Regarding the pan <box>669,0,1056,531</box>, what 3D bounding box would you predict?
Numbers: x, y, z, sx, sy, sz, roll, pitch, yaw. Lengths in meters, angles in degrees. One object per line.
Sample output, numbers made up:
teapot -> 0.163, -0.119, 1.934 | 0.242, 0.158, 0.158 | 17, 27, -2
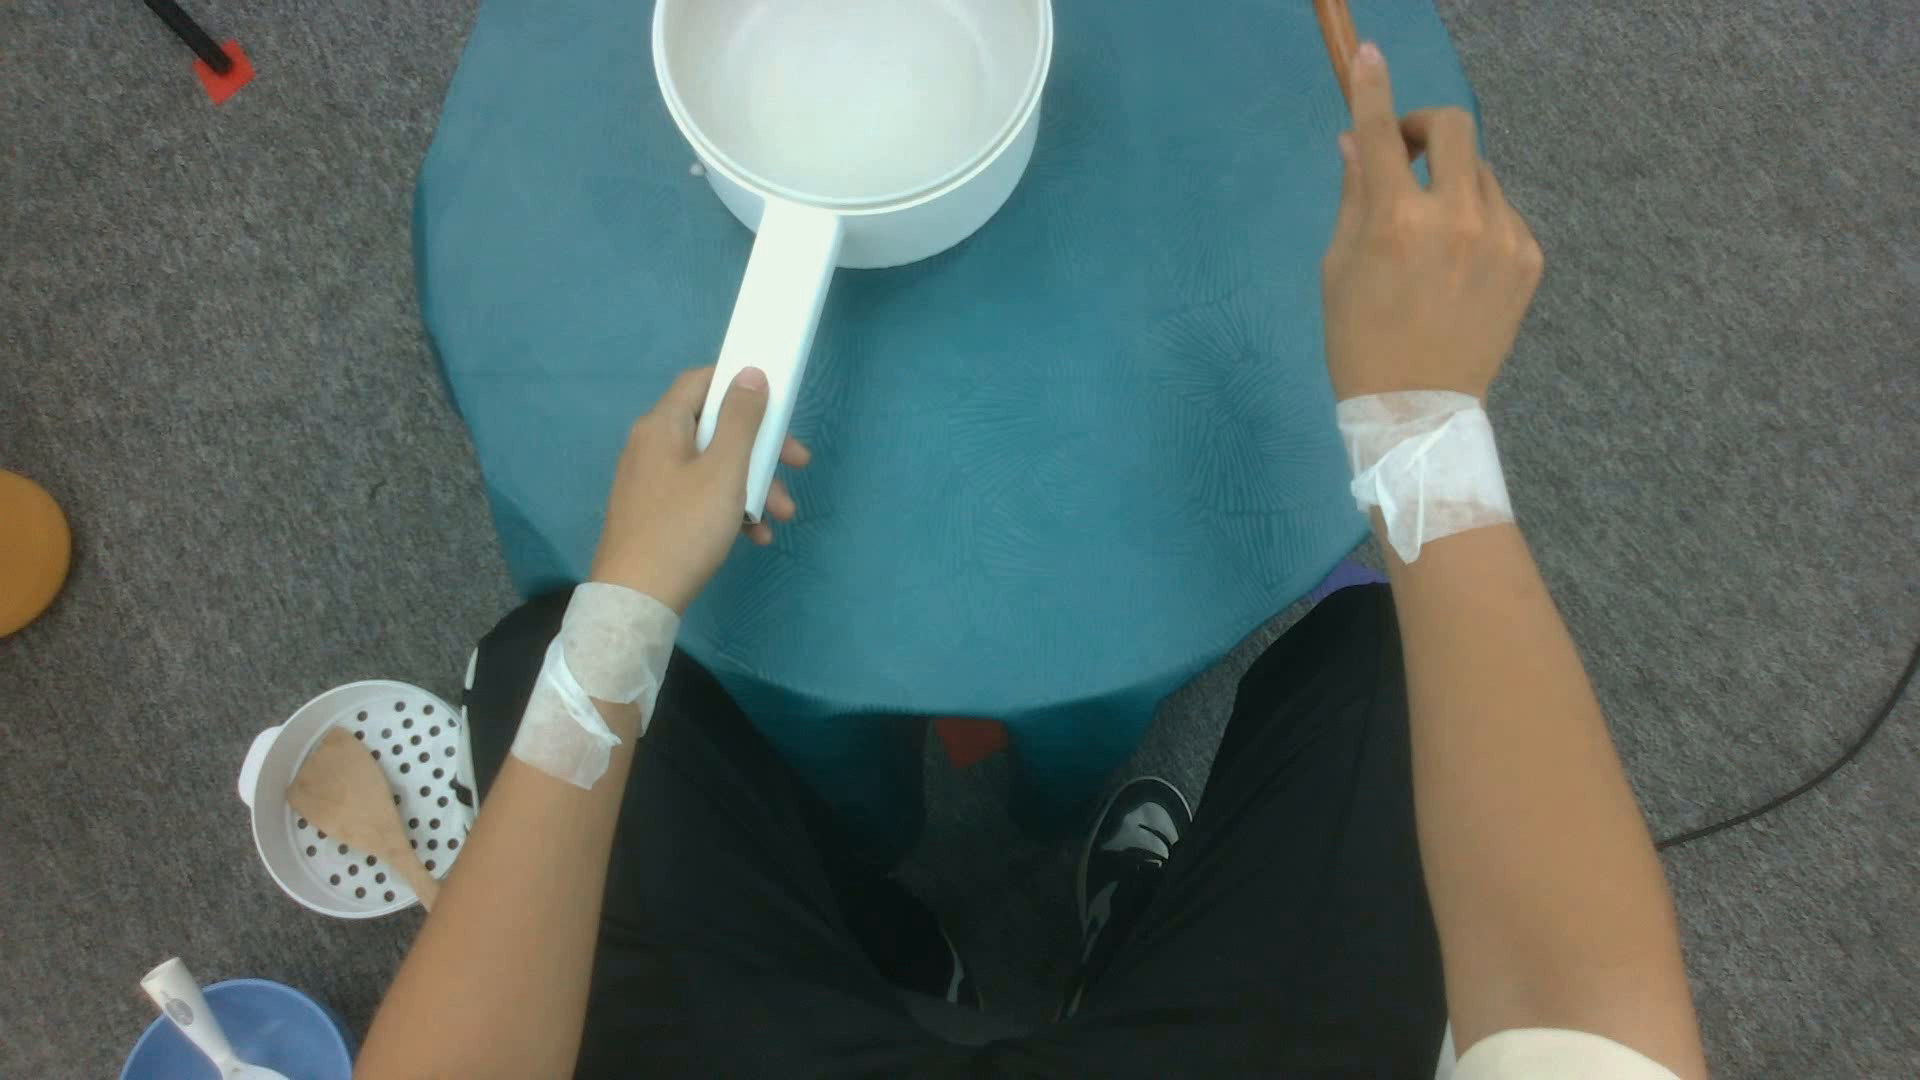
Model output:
pan -> -0.069, -0.170, 0.739 | 0.201, 0.102, 0.355 | 14, 78, 4

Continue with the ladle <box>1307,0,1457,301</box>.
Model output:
ladle -> 0.149, -0.225, 0.647 | 0.076, 0.082, 0.274 | -22, 75, 27
